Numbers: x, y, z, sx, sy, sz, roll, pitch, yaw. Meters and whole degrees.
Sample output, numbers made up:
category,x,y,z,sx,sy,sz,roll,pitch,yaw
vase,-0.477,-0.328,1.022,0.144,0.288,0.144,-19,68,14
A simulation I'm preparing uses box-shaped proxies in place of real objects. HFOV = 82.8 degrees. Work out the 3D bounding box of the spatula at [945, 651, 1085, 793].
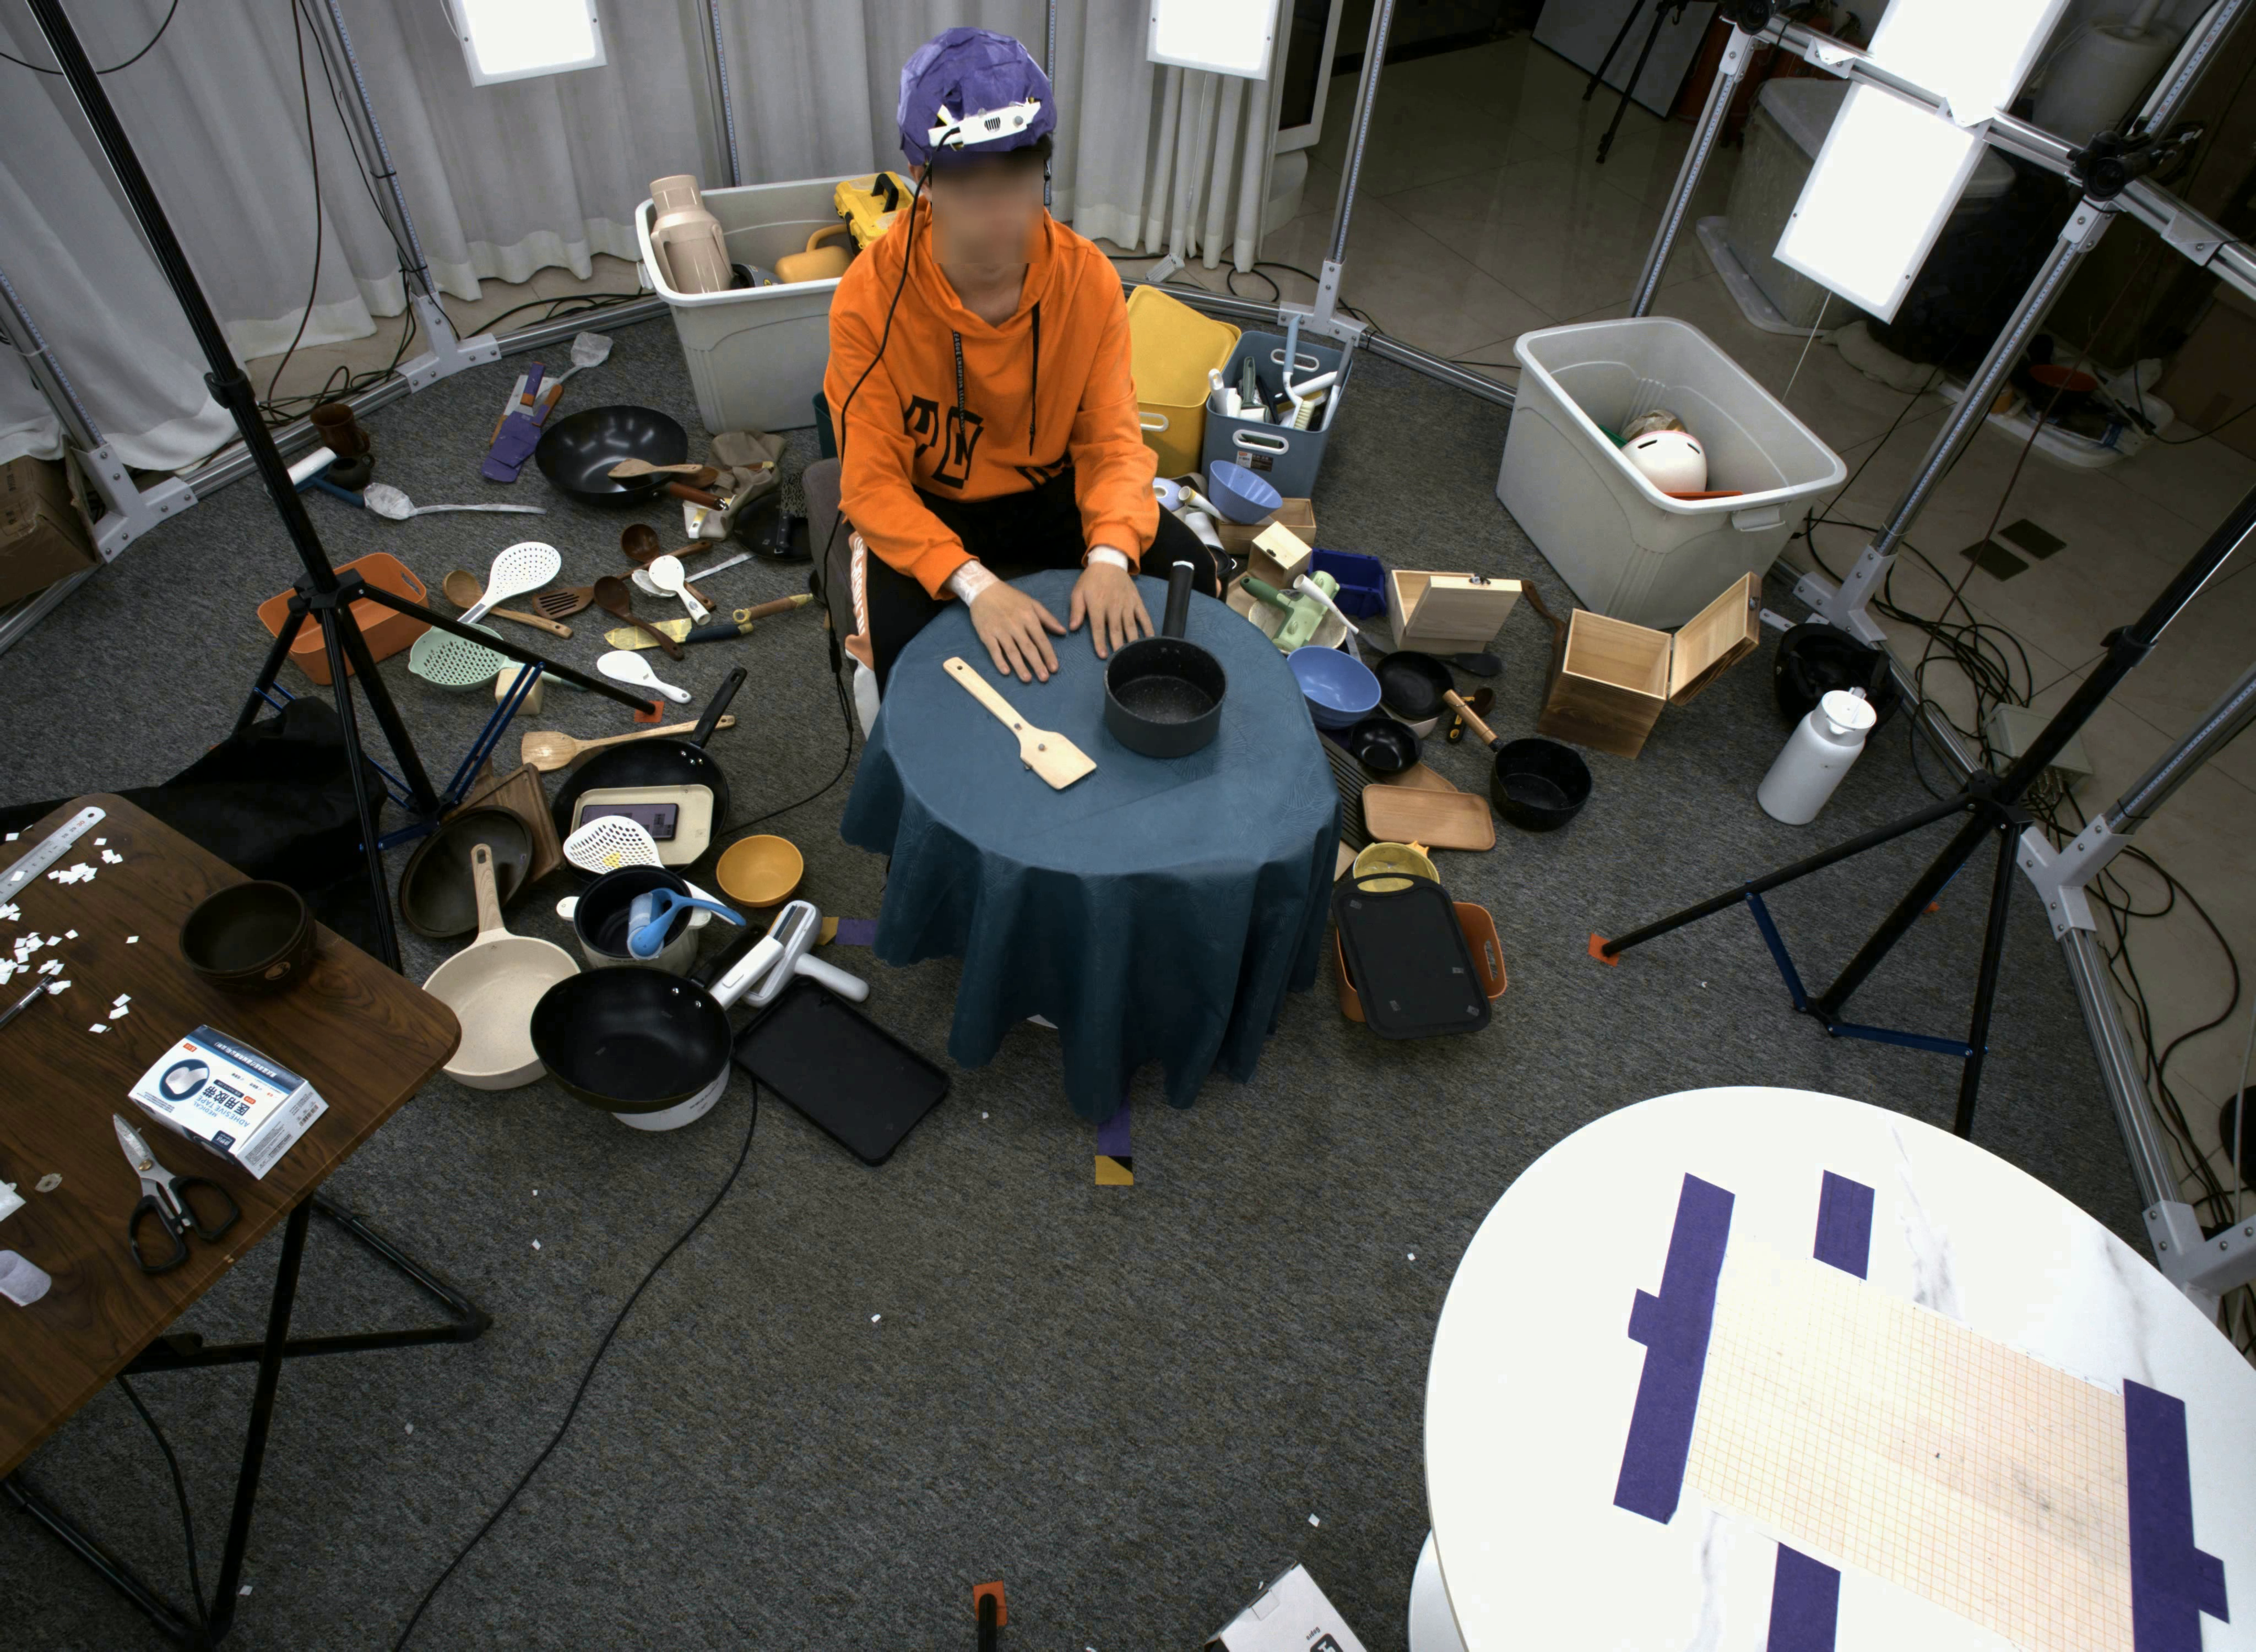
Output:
category,x,y,z,sx,sy,sz,roll,pitch,yaw
spatula,-0.170,-0.152,1.788,0.072,0.010,0.298,-29,58,-22

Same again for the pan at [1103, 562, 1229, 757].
category,x,y,z,sx,sy,sz,roll,pitch,yaw
pan,0.063,-0.240,1.827,0.172,0.084,0.336,10,51,4
